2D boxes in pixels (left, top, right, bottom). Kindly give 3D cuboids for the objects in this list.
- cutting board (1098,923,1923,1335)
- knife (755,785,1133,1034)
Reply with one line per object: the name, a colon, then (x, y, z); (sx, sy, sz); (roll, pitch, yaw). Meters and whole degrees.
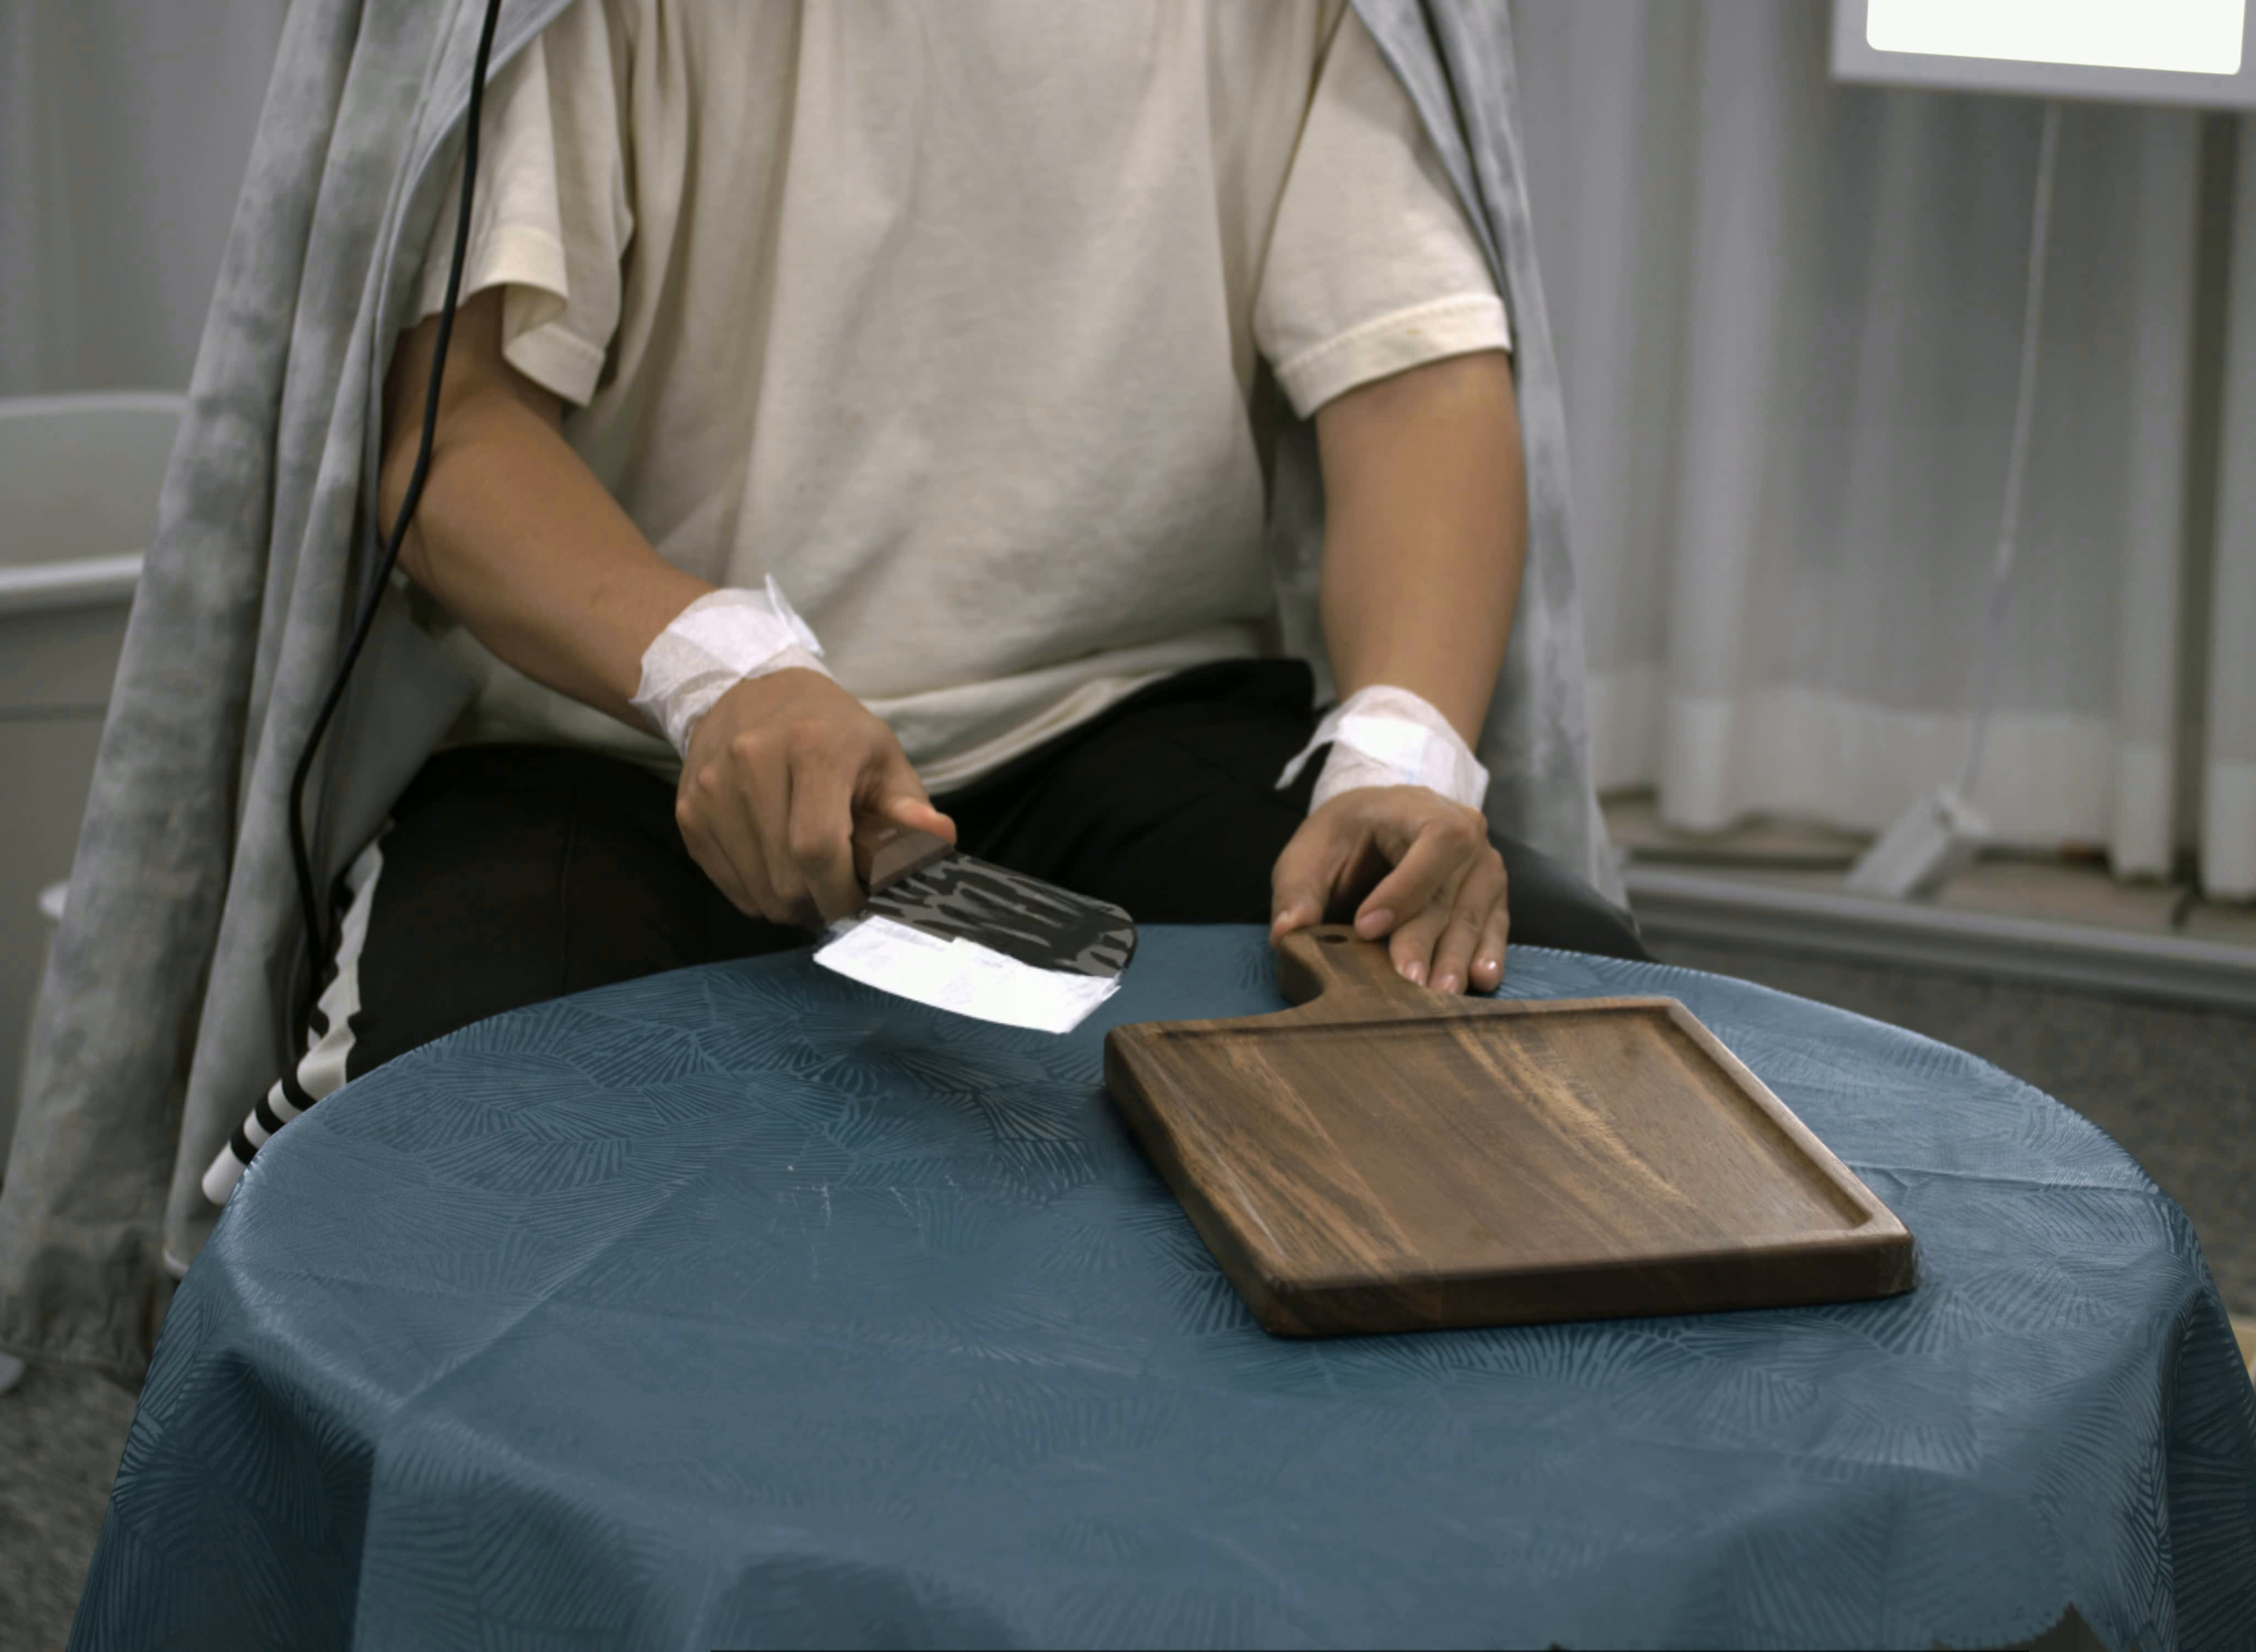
cutting board: (0.102, 0.088, 1.680); (0.201, 0.023, 0.349); (-3, 15, -12)
knife: (-0.072, 0.028, 1.751); (0.068, 0.024, 0.296); (-32, 22, -19)
